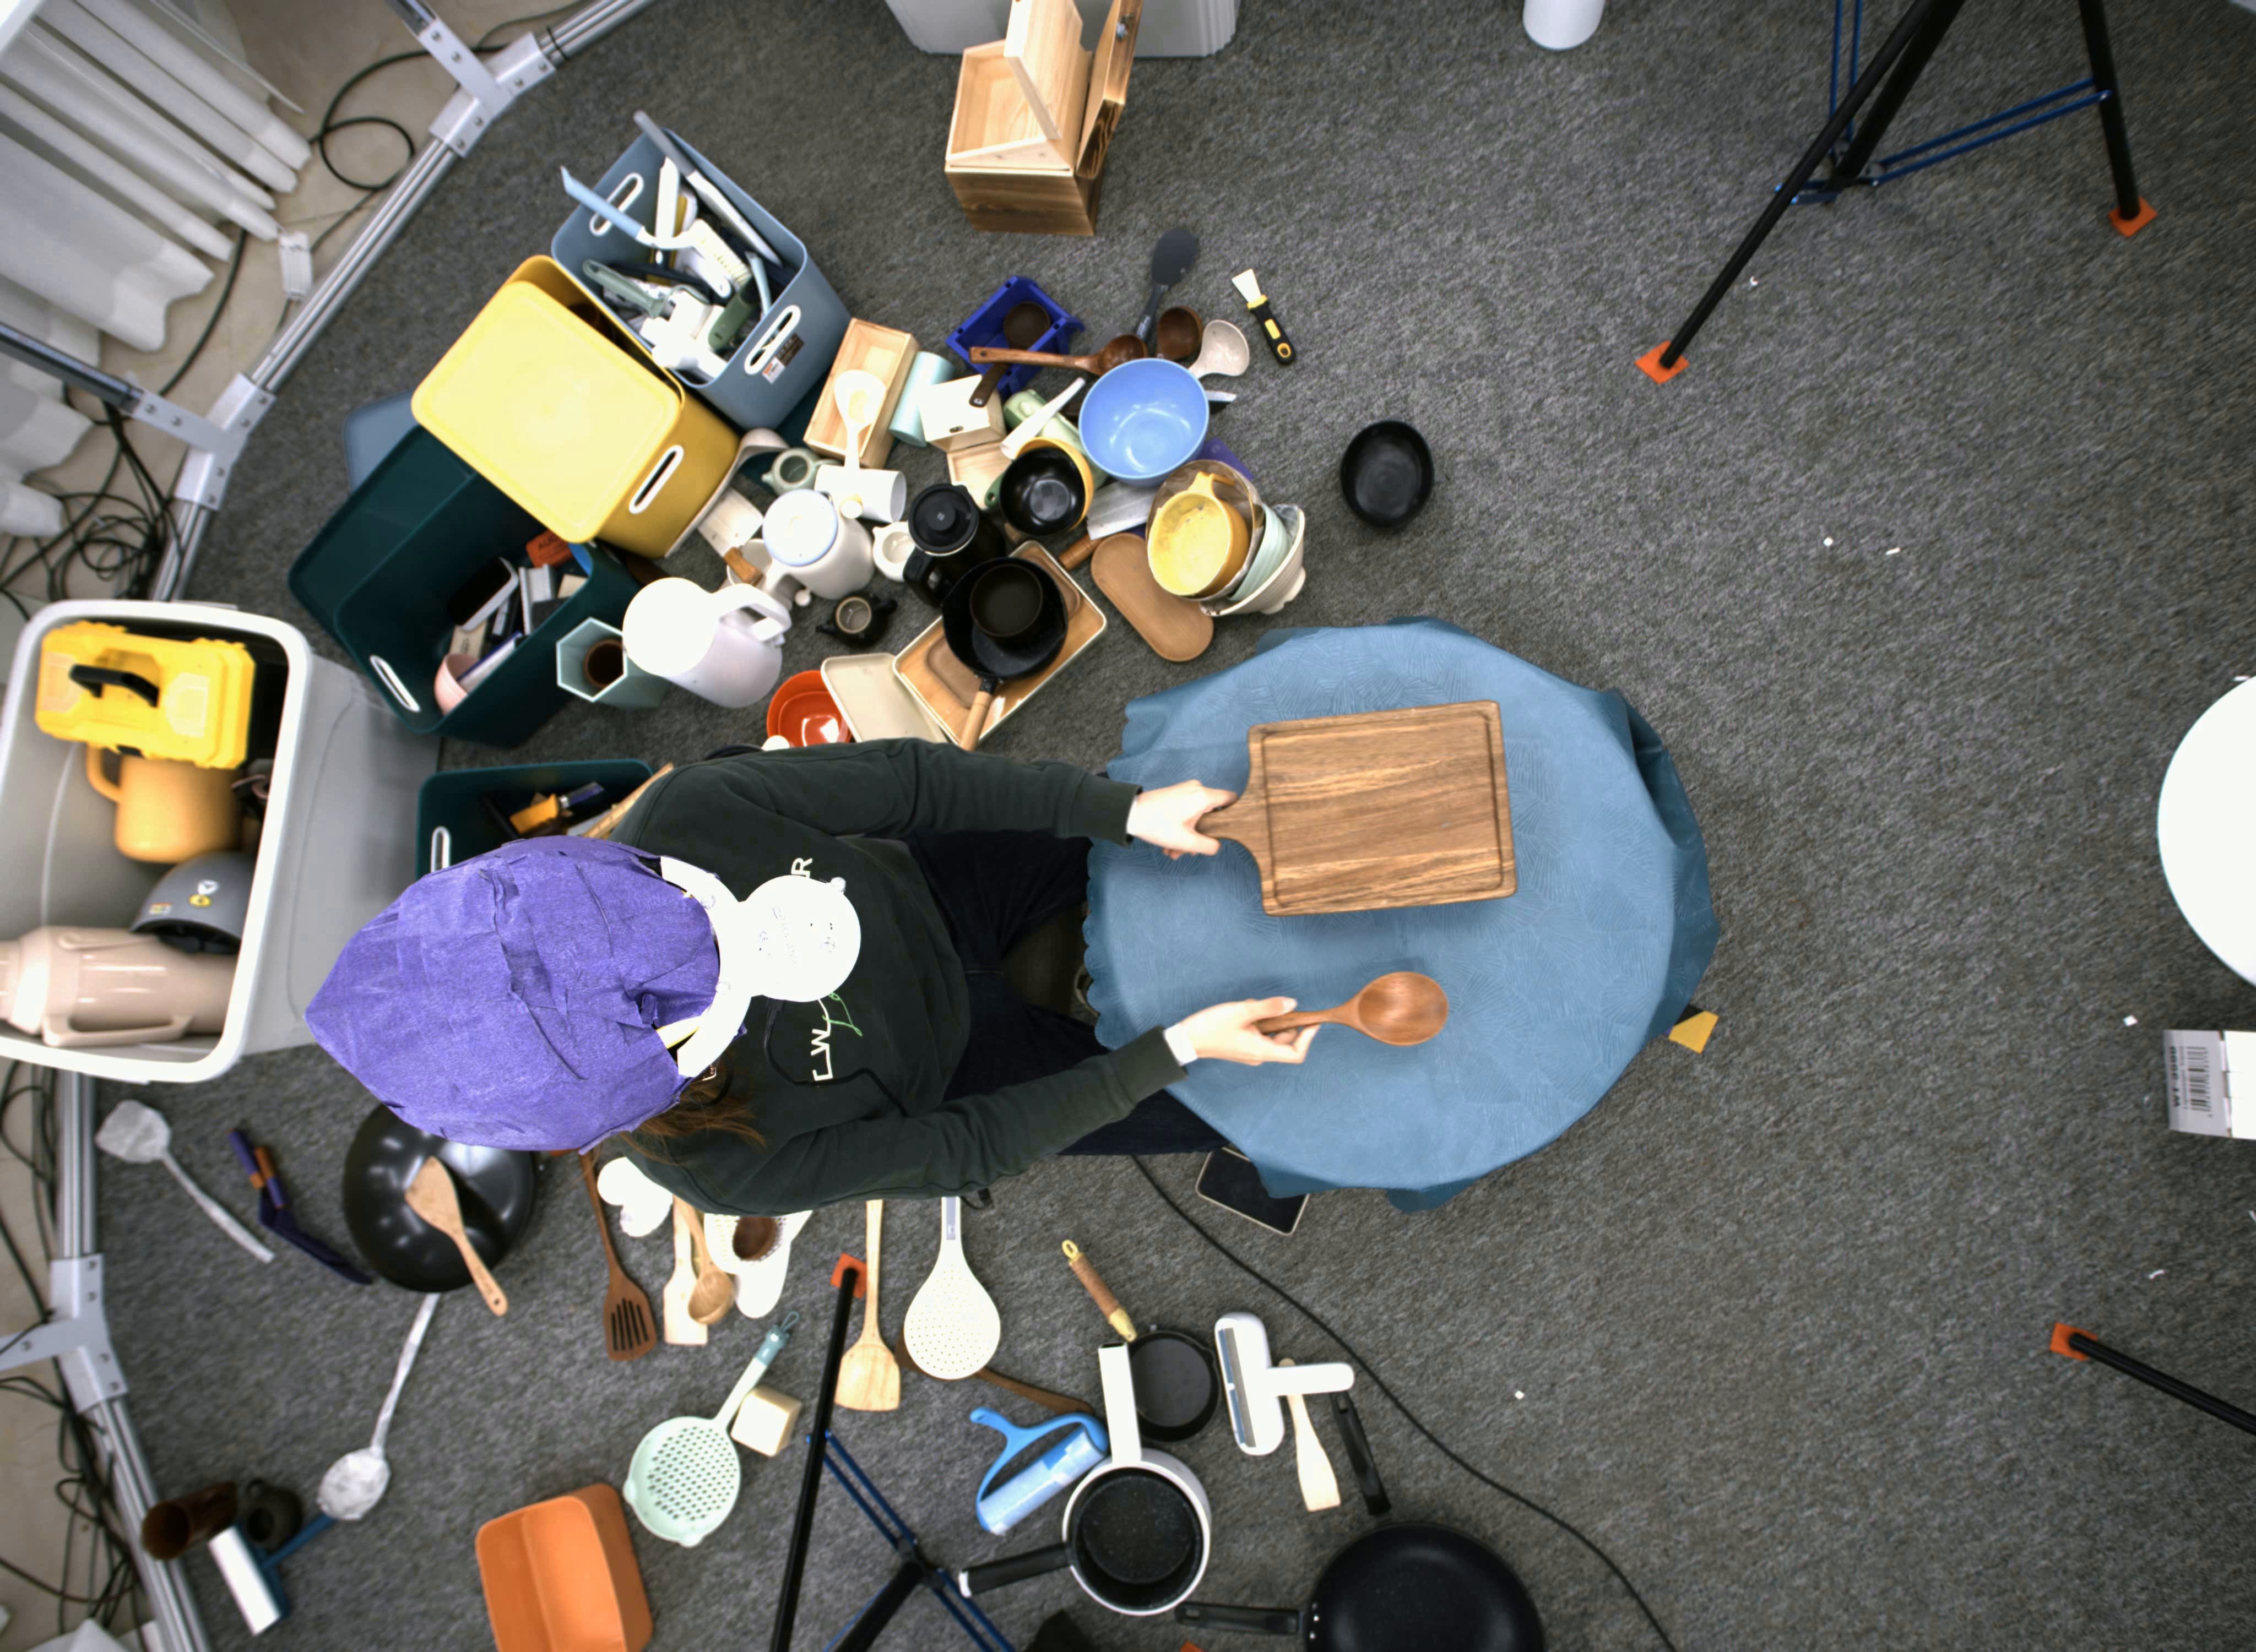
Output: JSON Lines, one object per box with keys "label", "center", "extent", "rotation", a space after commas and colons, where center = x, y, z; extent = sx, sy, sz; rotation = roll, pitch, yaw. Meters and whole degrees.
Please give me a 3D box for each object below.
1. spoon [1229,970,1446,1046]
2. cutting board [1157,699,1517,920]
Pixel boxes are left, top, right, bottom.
{"label": "spoon", "center": [0.208, 0.188, 1.381], "extent": [0.216, 0.017, 0.075], "rotation": [-7, 81, 4]}
{"label": "cutting board", "center": [0.203, -0.011, 1.387], "extent": [0.354, 0.023, 0.201], "rotation": [-6, 91, 12]}
